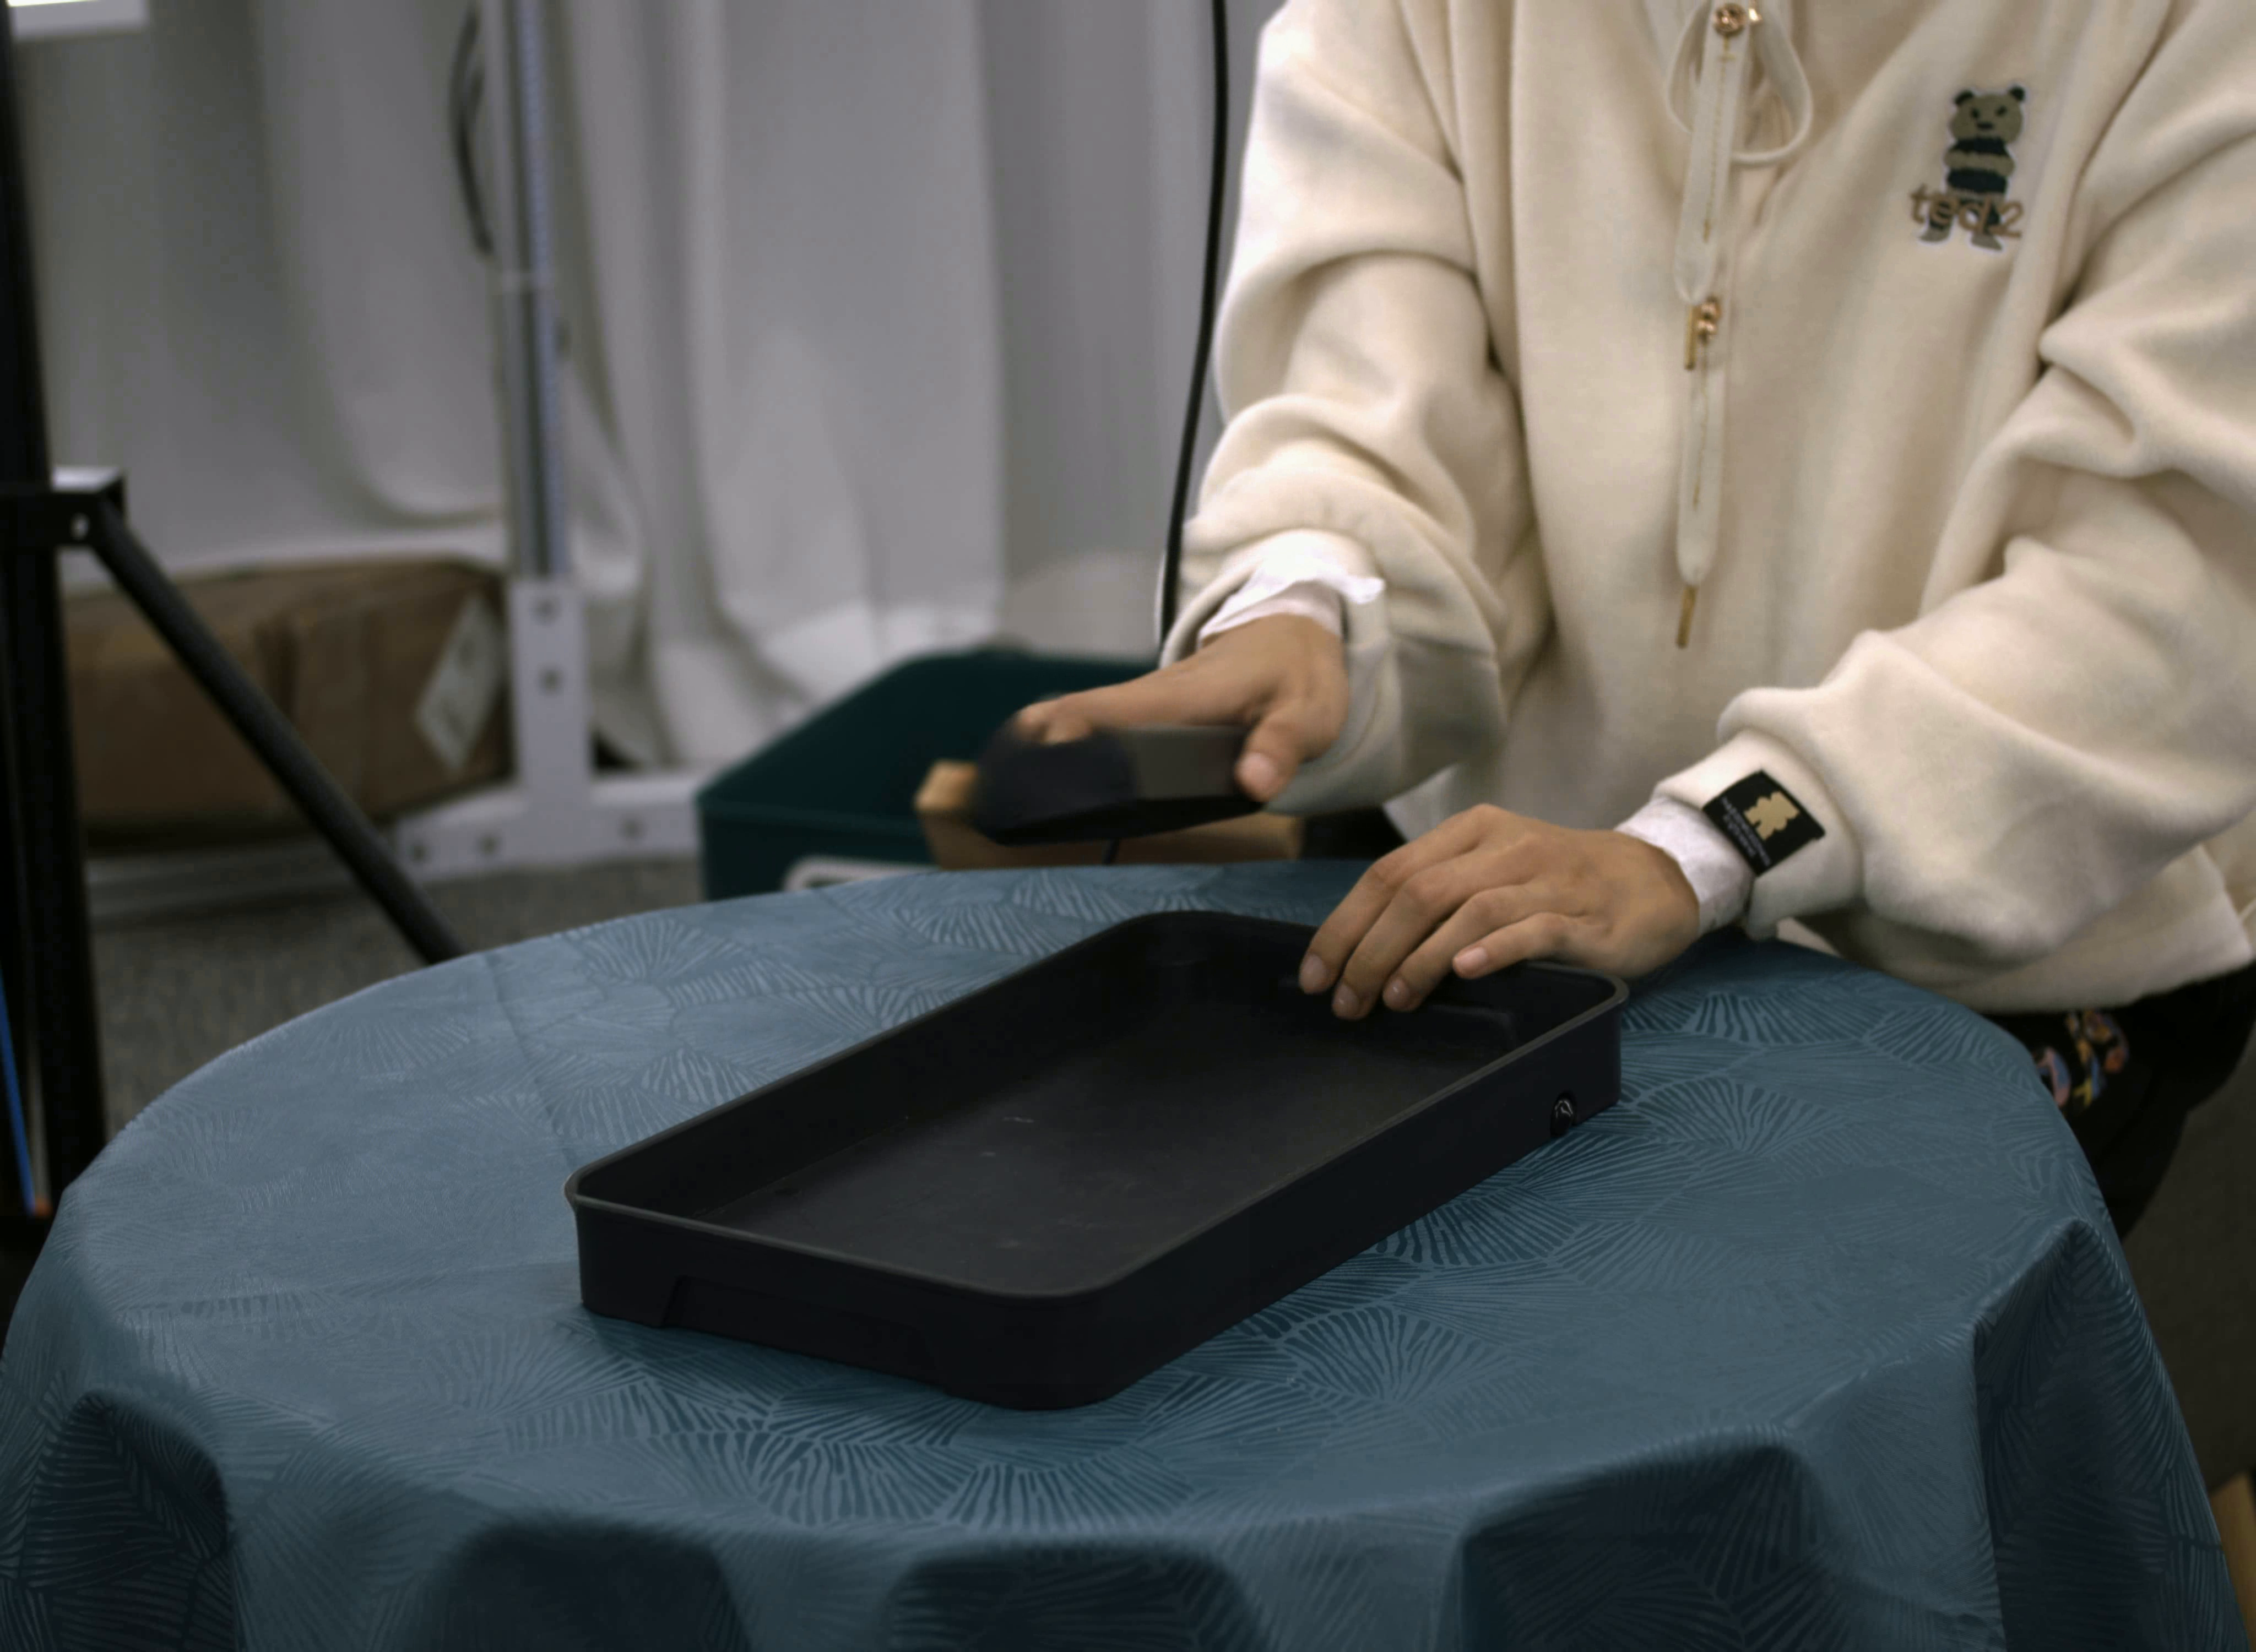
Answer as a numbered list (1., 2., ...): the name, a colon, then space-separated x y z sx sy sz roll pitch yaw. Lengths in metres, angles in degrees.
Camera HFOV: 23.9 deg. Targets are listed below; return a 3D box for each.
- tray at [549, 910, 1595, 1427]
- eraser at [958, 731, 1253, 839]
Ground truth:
1. tray: -0.008 0.092 1.546 0.188 0.037 0.312 7 19 31
2. eraser: -0.005 -0.012 1.667 0.054 0.030 0.123 -8 -3 22
